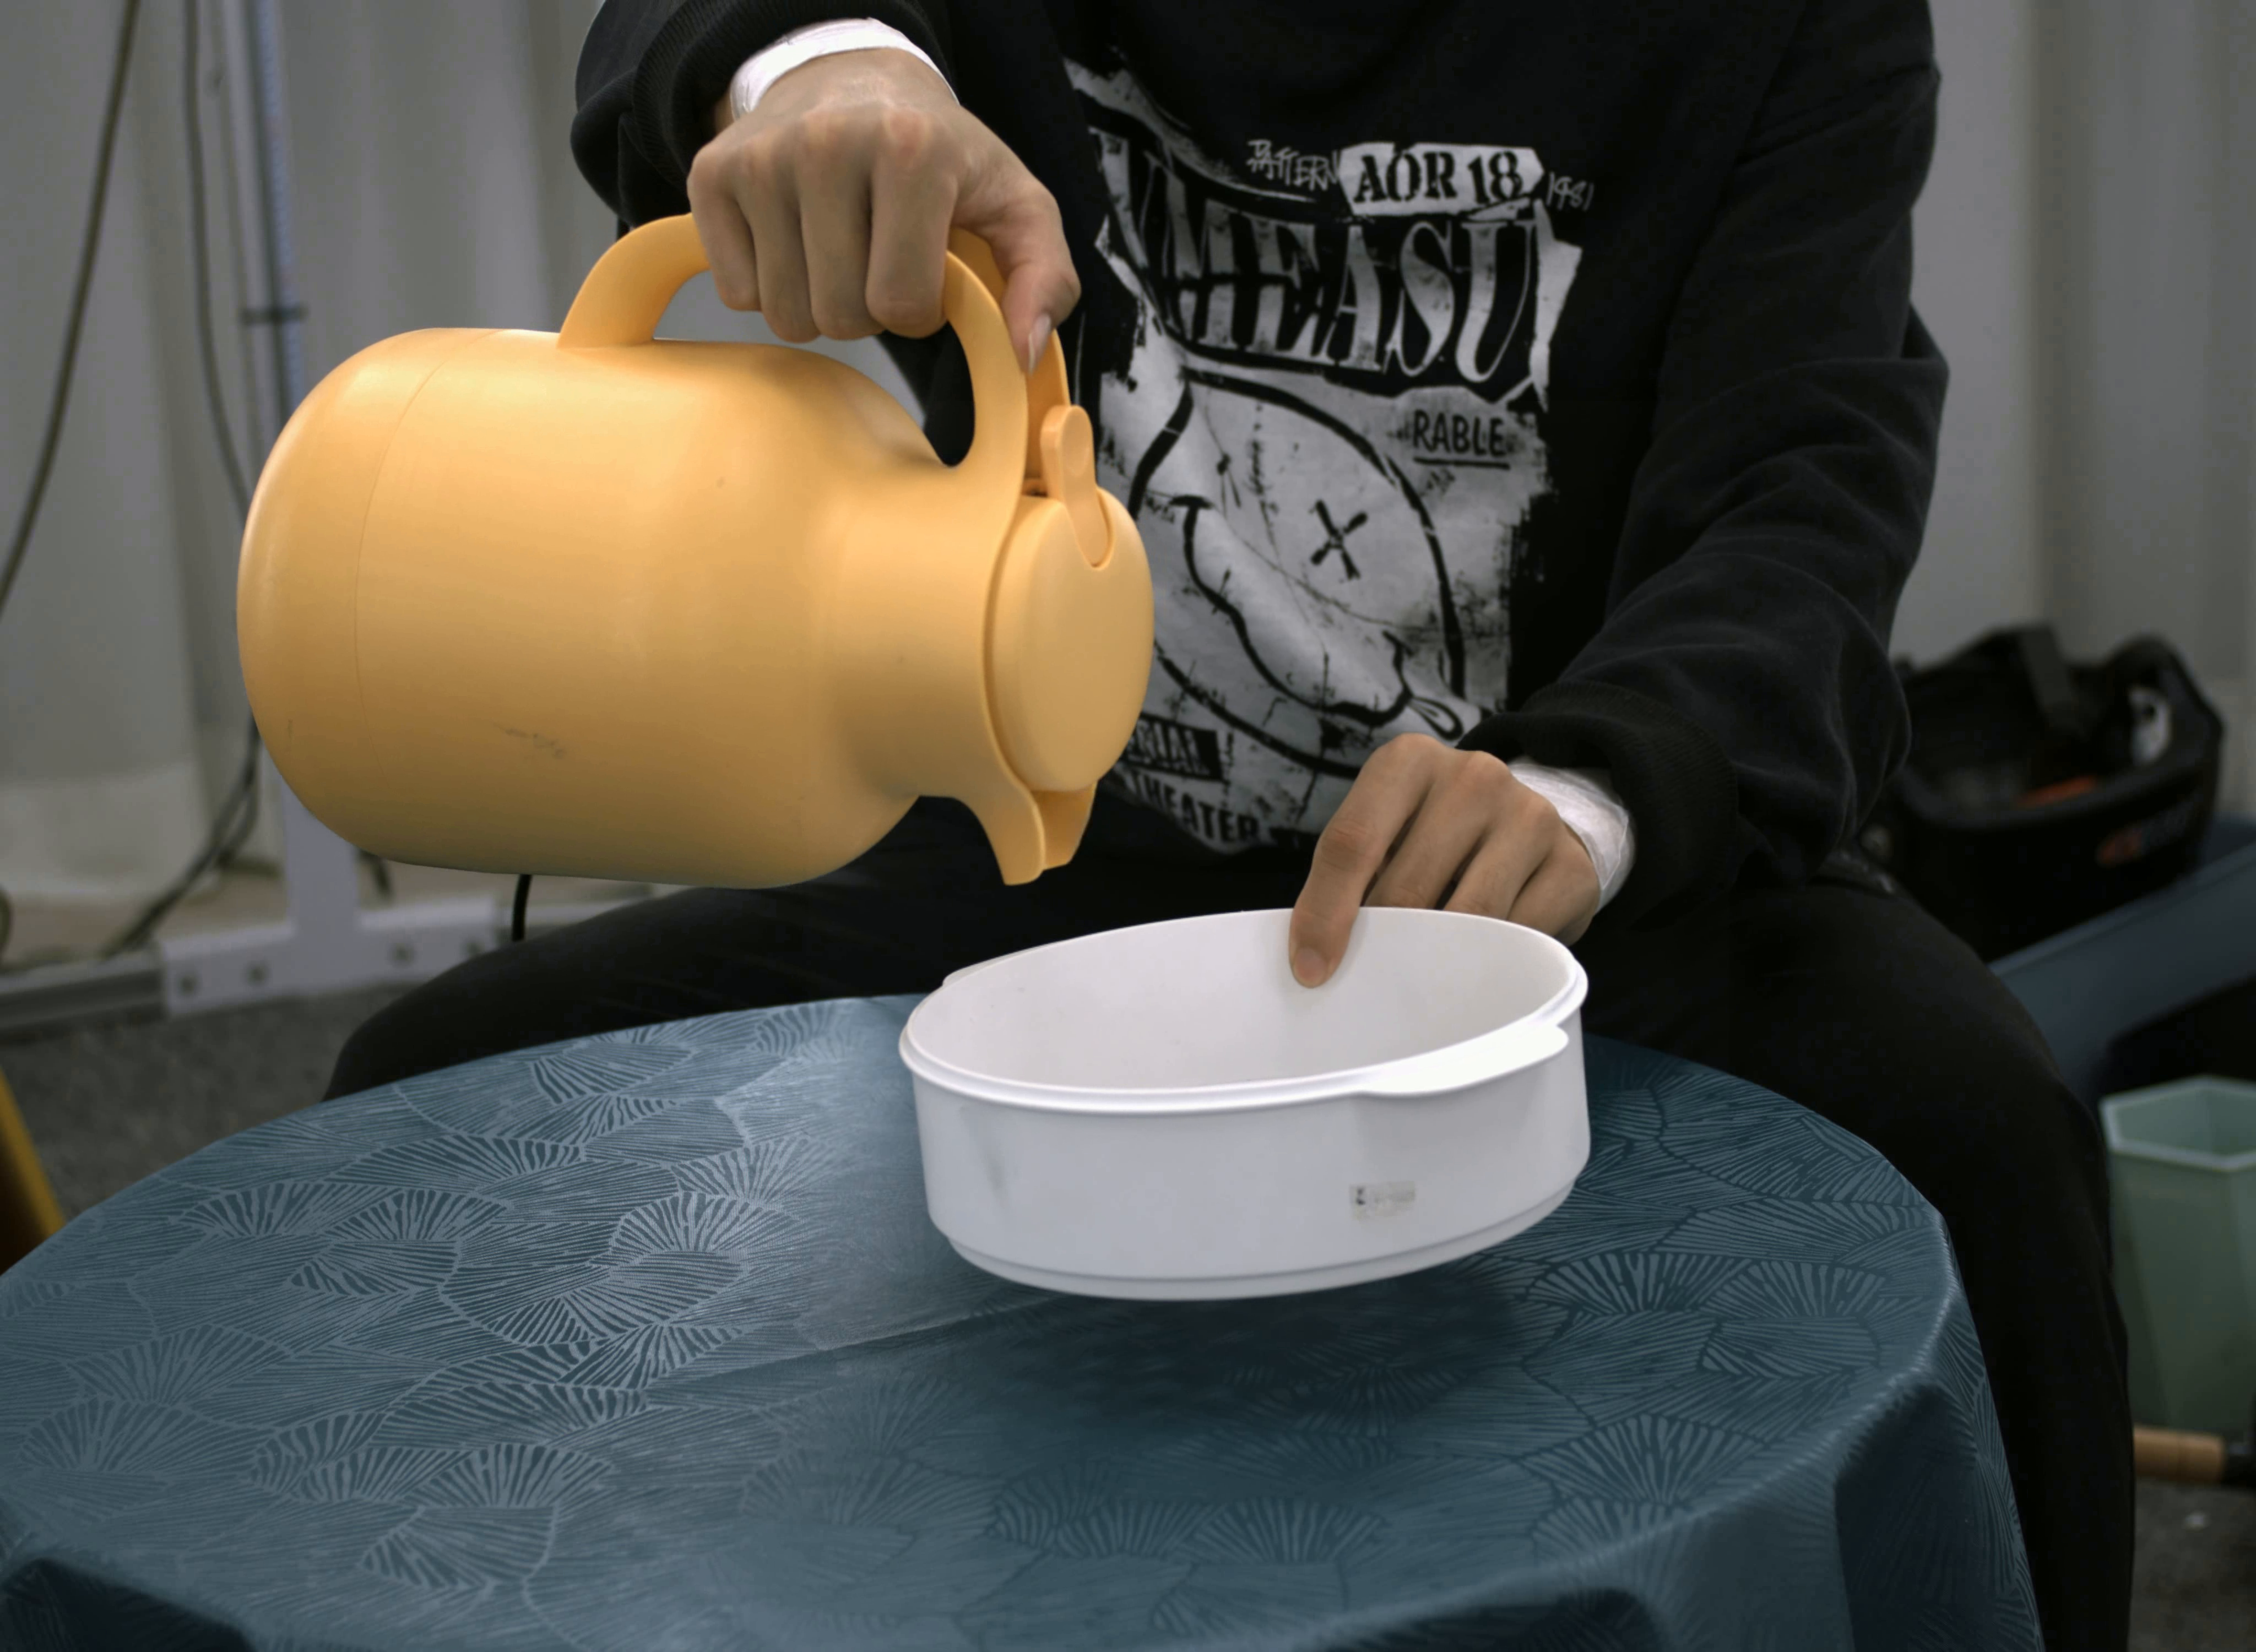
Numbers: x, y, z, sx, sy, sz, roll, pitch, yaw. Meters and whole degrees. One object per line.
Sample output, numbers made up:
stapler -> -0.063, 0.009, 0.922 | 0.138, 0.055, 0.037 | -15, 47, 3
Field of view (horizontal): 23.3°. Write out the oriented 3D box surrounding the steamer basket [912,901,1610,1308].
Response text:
steamer basket -> 0.039, 0.080, 1.577 | 0.201, 0.069, 0.232 | -15, 19, -37

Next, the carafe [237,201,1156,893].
carafe -> -0.121, -0.083, 1.607 | 0.261, 0.202, 0.163 | 5, 11, 24
